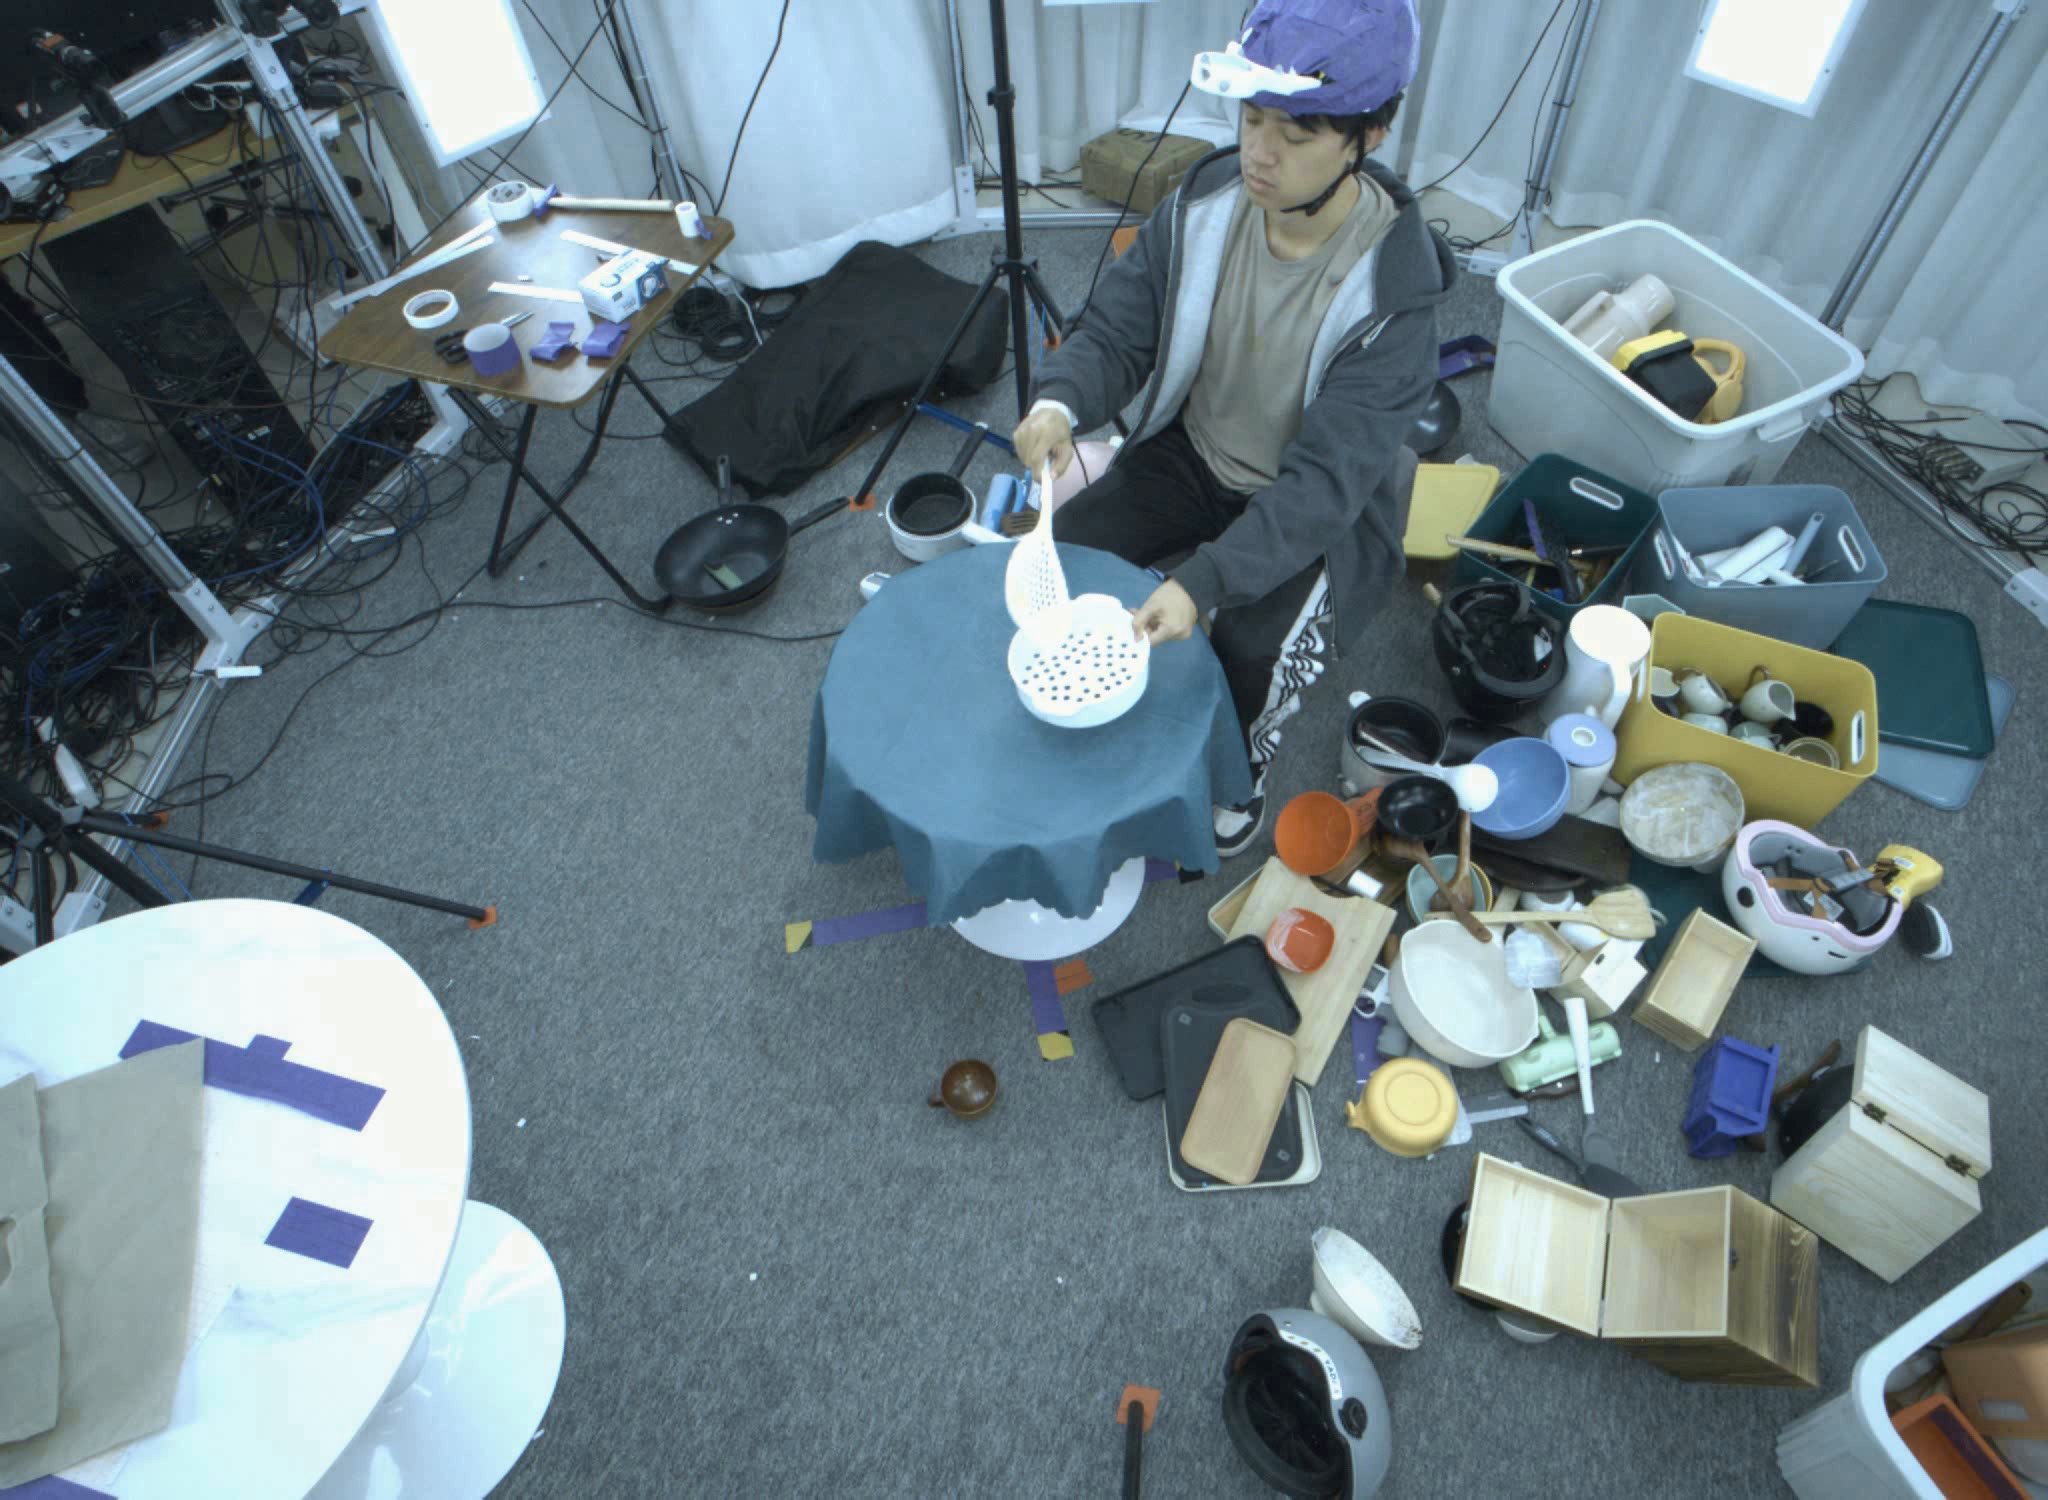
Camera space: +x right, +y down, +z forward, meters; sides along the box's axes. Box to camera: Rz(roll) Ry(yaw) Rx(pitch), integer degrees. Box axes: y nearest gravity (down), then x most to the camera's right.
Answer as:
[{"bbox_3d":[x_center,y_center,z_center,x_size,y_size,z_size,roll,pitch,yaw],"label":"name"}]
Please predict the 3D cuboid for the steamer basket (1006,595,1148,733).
[{"bbox_3d":[0.079,-0.118,1.766,0.199,0.070,0.230,11,59,15],"label":"steamer basket"}]

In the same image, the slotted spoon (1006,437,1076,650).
[{"bbox_3d":[0.019,-0.300,1.719,0.049,0.140,0.346,-13,64,40],"label":"slotted spoon"}]
